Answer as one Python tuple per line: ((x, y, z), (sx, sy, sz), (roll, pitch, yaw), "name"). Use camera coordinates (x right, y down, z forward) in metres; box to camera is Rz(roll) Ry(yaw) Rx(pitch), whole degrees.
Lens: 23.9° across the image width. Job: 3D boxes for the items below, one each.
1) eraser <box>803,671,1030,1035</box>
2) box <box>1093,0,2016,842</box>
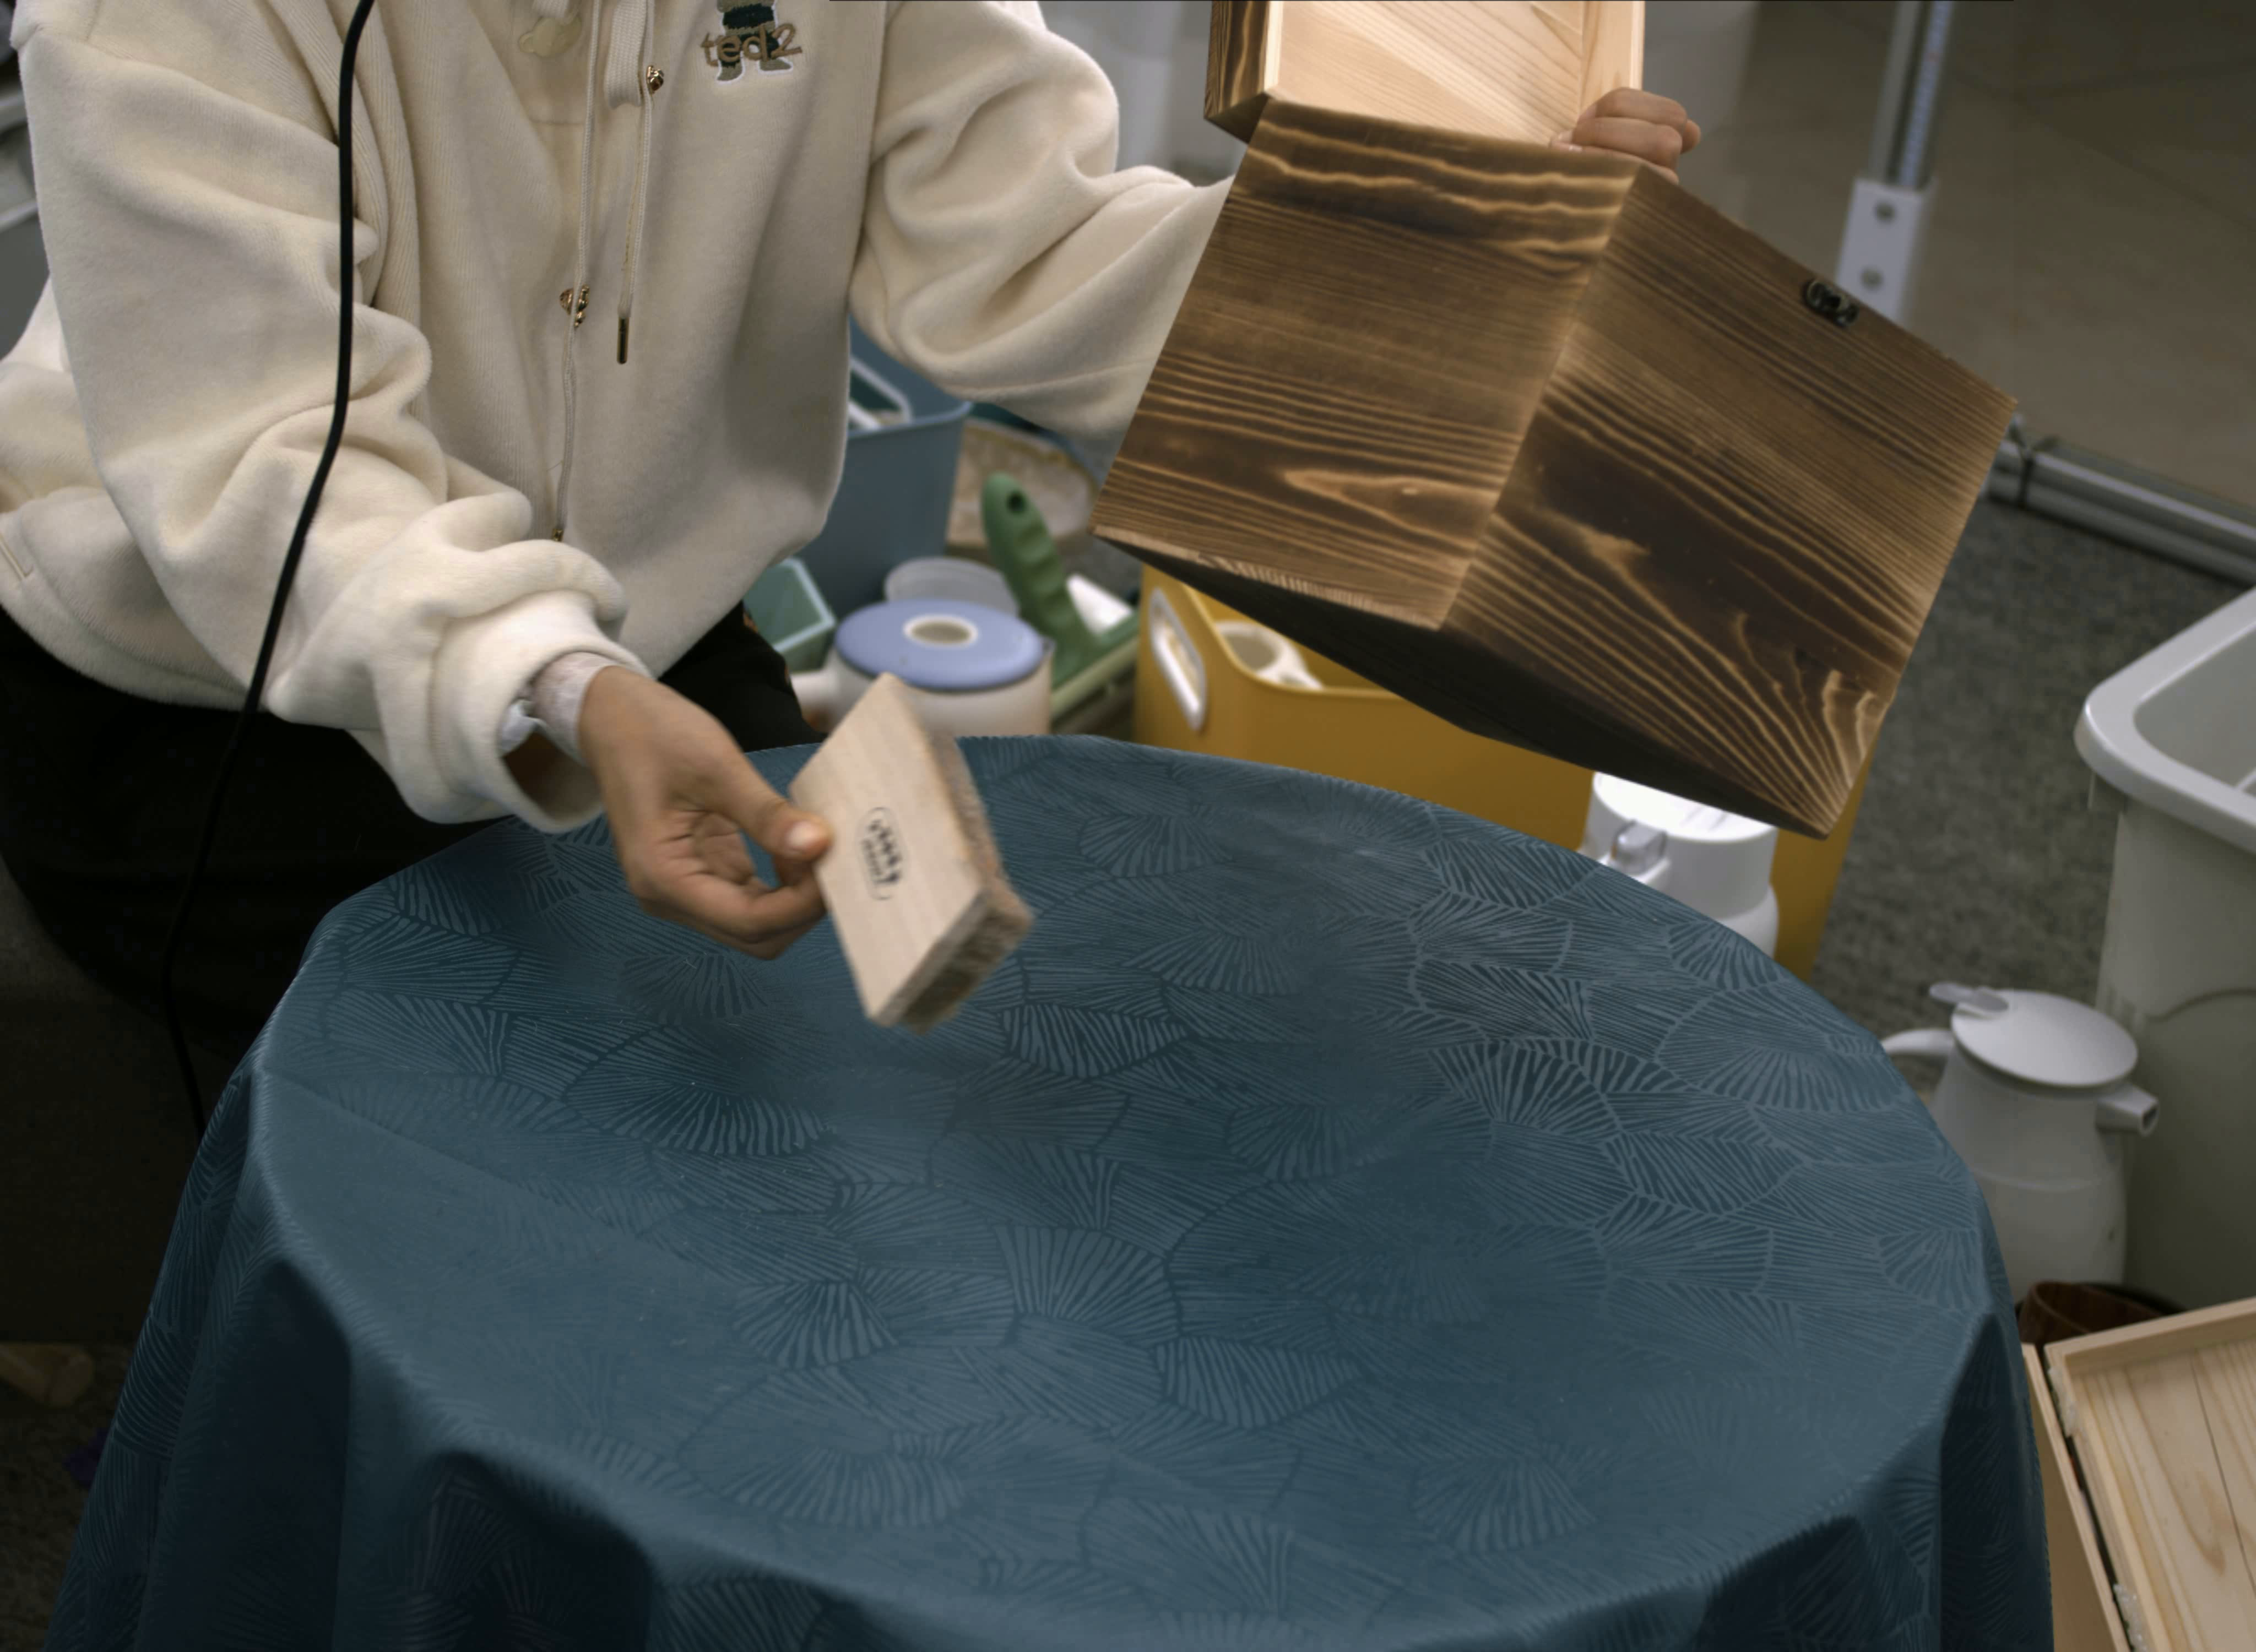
((-0.072, 0.010, 1.793), (0.029, 0.057, 0.140), (30, 22, -30), "eraser")
((0.153, -0.227, 1.905), (0.207, 0.376, 0.324), (24, -2, -38), "box")
